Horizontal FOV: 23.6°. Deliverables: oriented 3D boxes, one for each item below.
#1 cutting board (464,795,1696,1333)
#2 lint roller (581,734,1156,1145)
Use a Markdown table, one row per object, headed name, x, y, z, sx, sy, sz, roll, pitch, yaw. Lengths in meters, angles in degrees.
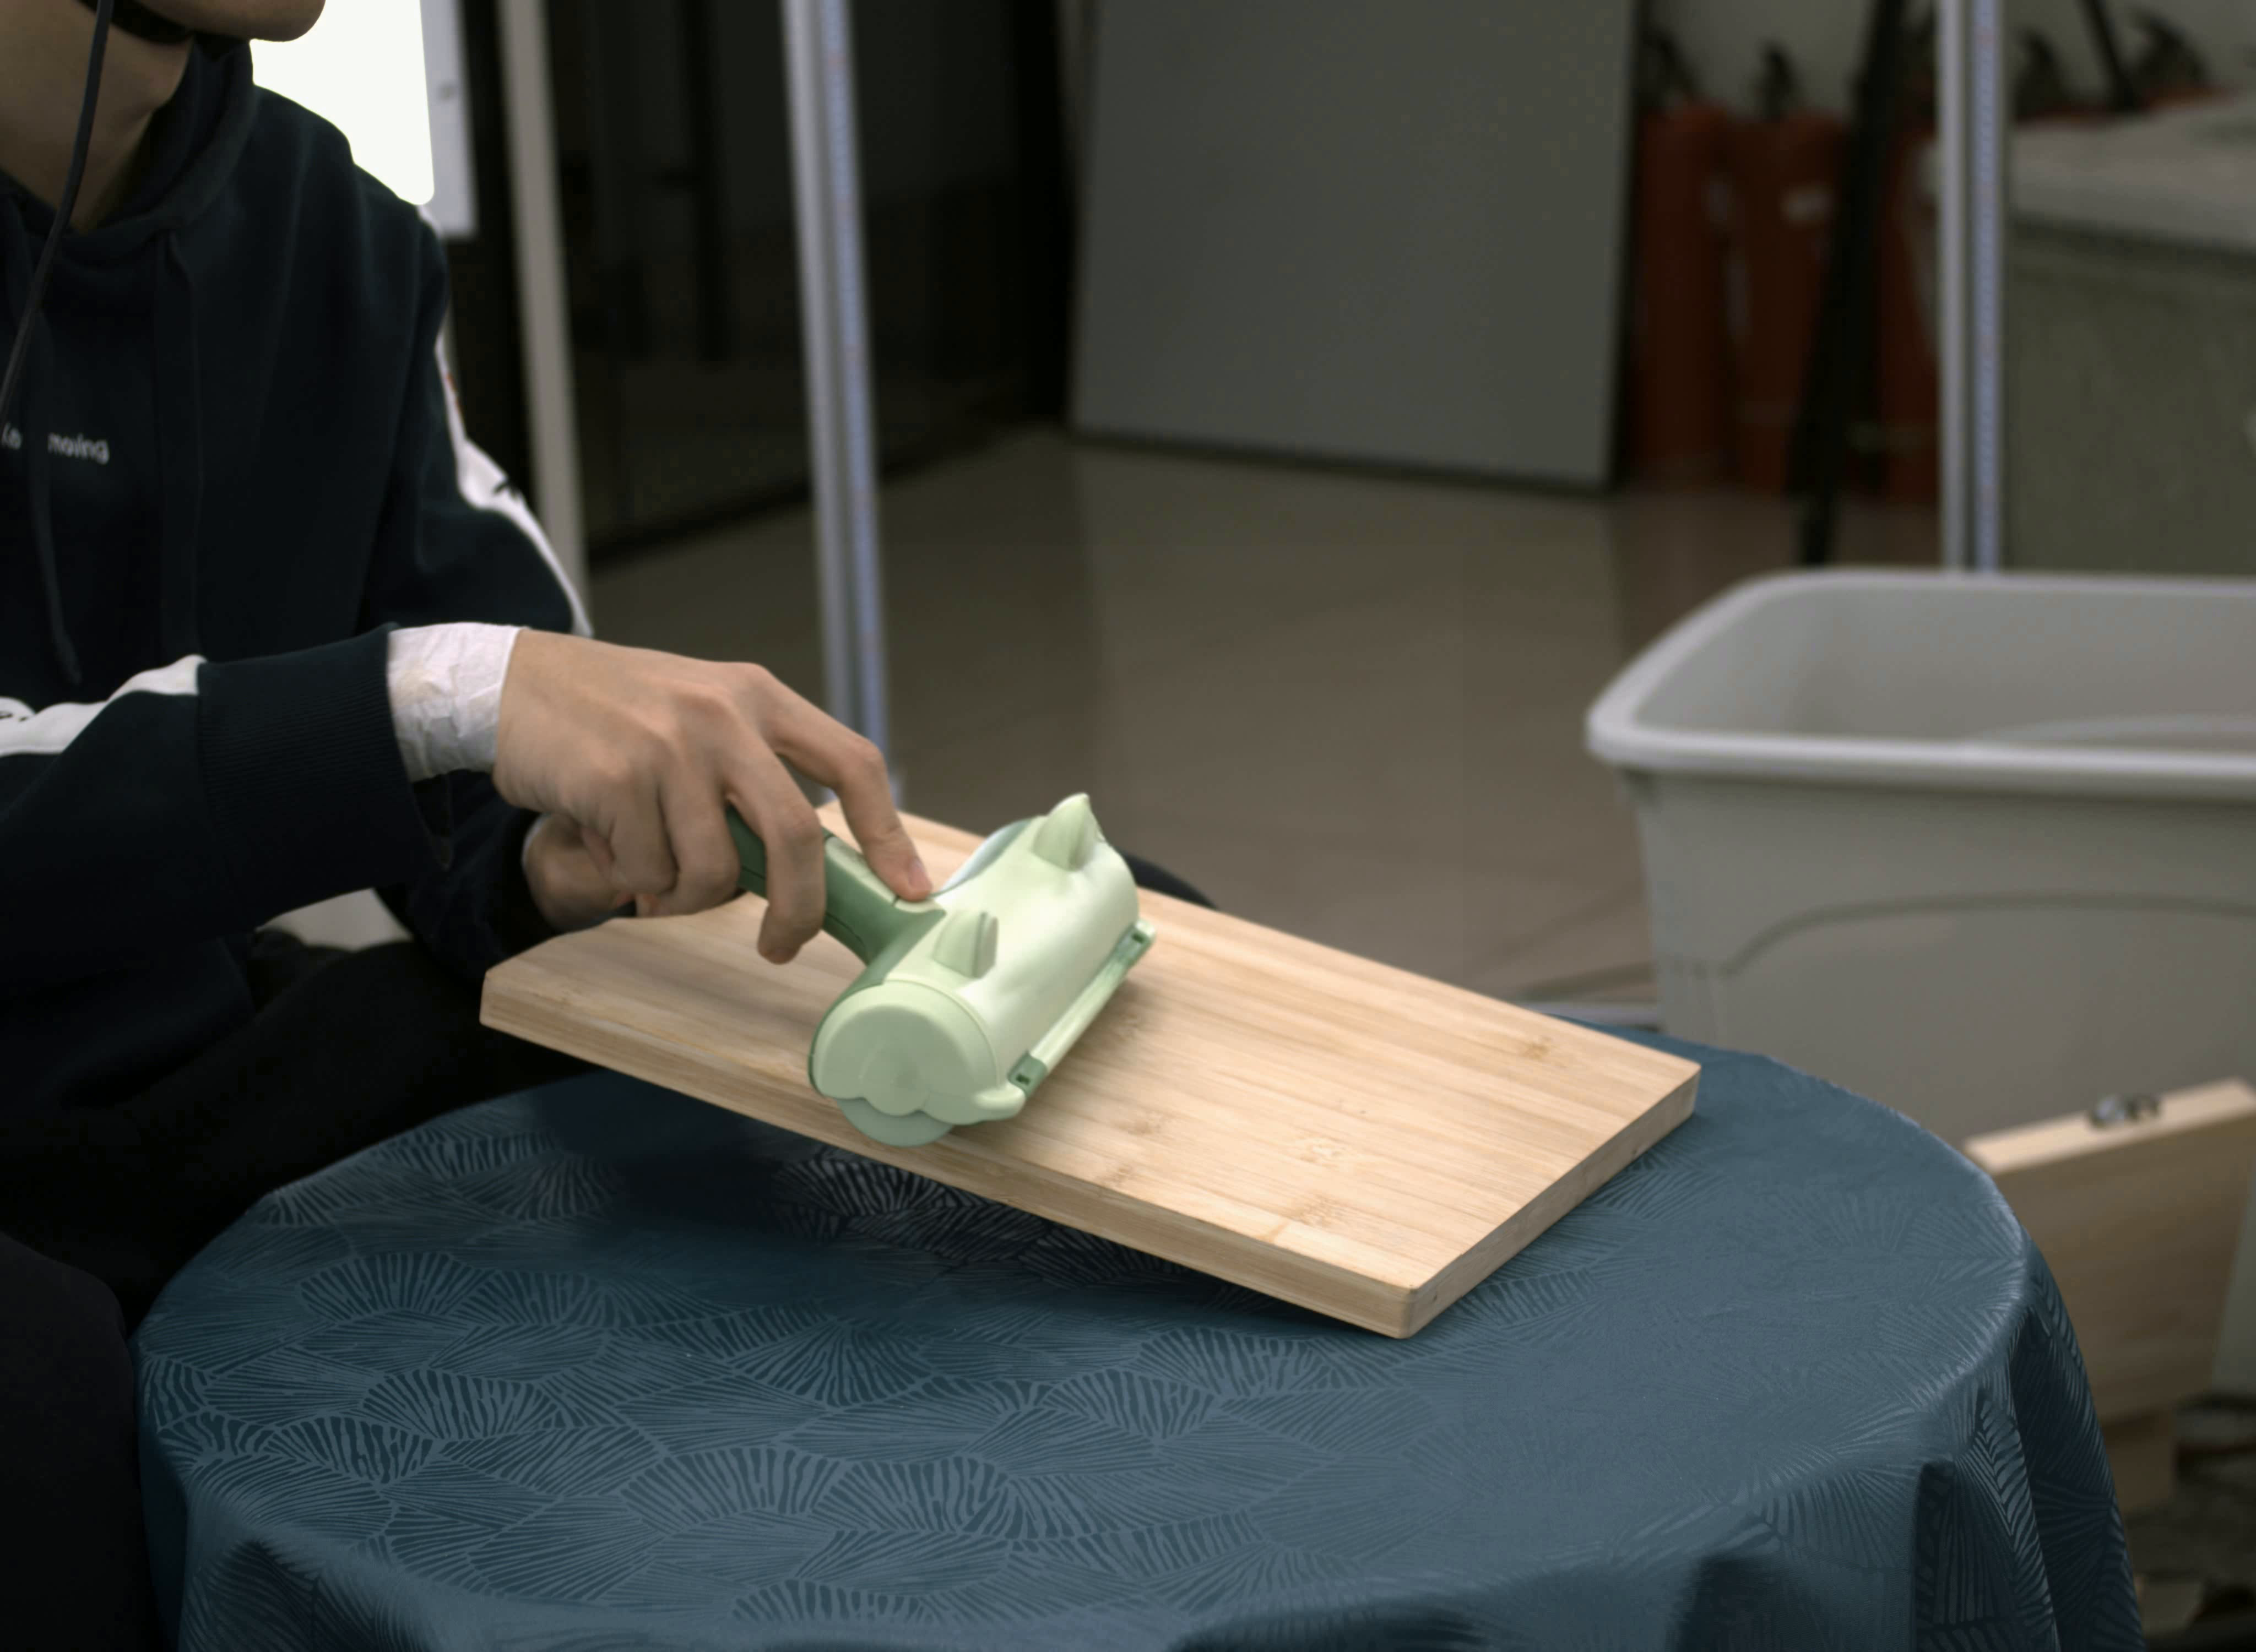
| name | x | y | z | sx | sy | sz | roll | pitch | yaw |
| --- | --- | --- | --- | --- | --- | --- | --- | --- | --- |
| cutting board | -0.013 | 0.072 | 1.785 | 0.349 | 0.024 | 0.247 | 17 | 21 | 24 |
| lint roller | -0.087 | 0.008 | 1.729 | 0.183 | 0.083 | 0.197 | 38 | 22 | 3 |
